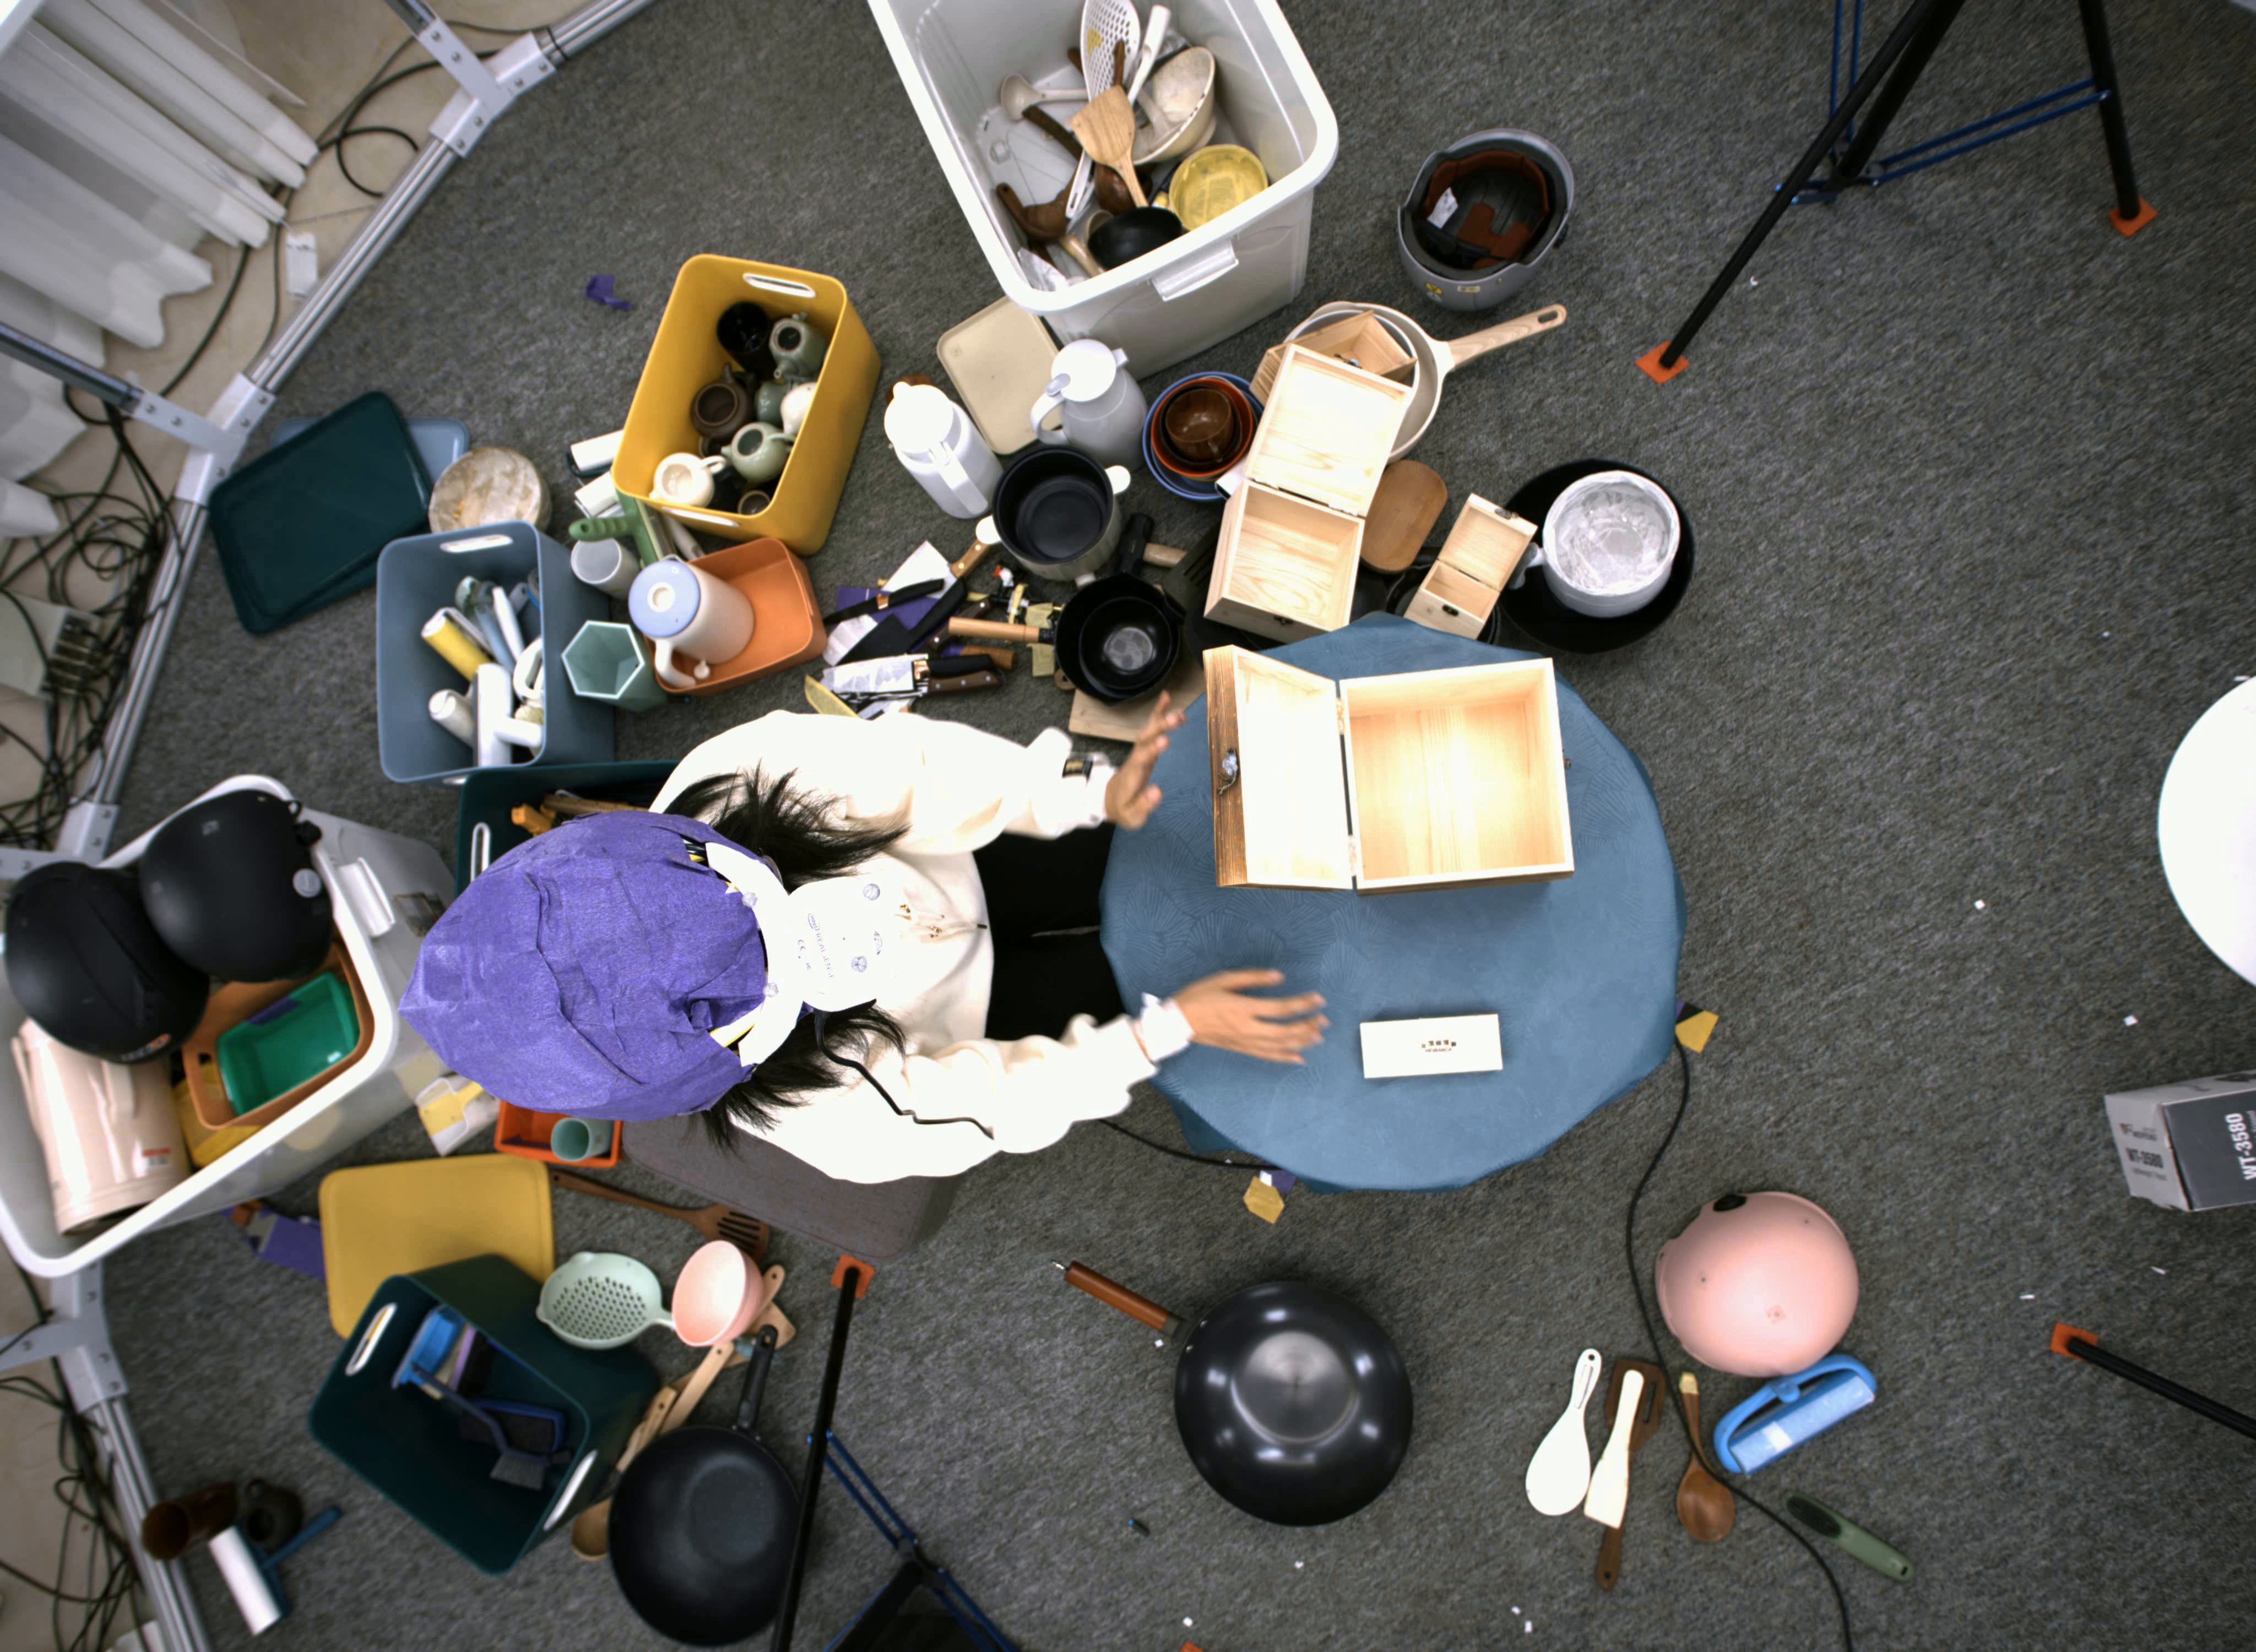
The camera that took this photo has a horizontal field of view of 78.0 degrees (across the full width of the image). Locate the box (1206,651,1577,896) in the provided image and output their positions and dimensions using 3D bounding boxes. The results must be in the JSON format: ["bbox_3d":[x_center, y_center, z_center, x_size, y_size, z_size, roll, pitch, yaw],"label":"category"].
[{"bbox_3d":[0.255,-0.045,1.285,0.323,0.375,0.207,-6,85,9],"label":"box"}]

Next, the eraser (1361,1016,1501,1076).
[{"bbox_3d":[0.313,0.225,1.429,0.140,0.029,0.057,-4,89,11],"label":"eraser"}]
